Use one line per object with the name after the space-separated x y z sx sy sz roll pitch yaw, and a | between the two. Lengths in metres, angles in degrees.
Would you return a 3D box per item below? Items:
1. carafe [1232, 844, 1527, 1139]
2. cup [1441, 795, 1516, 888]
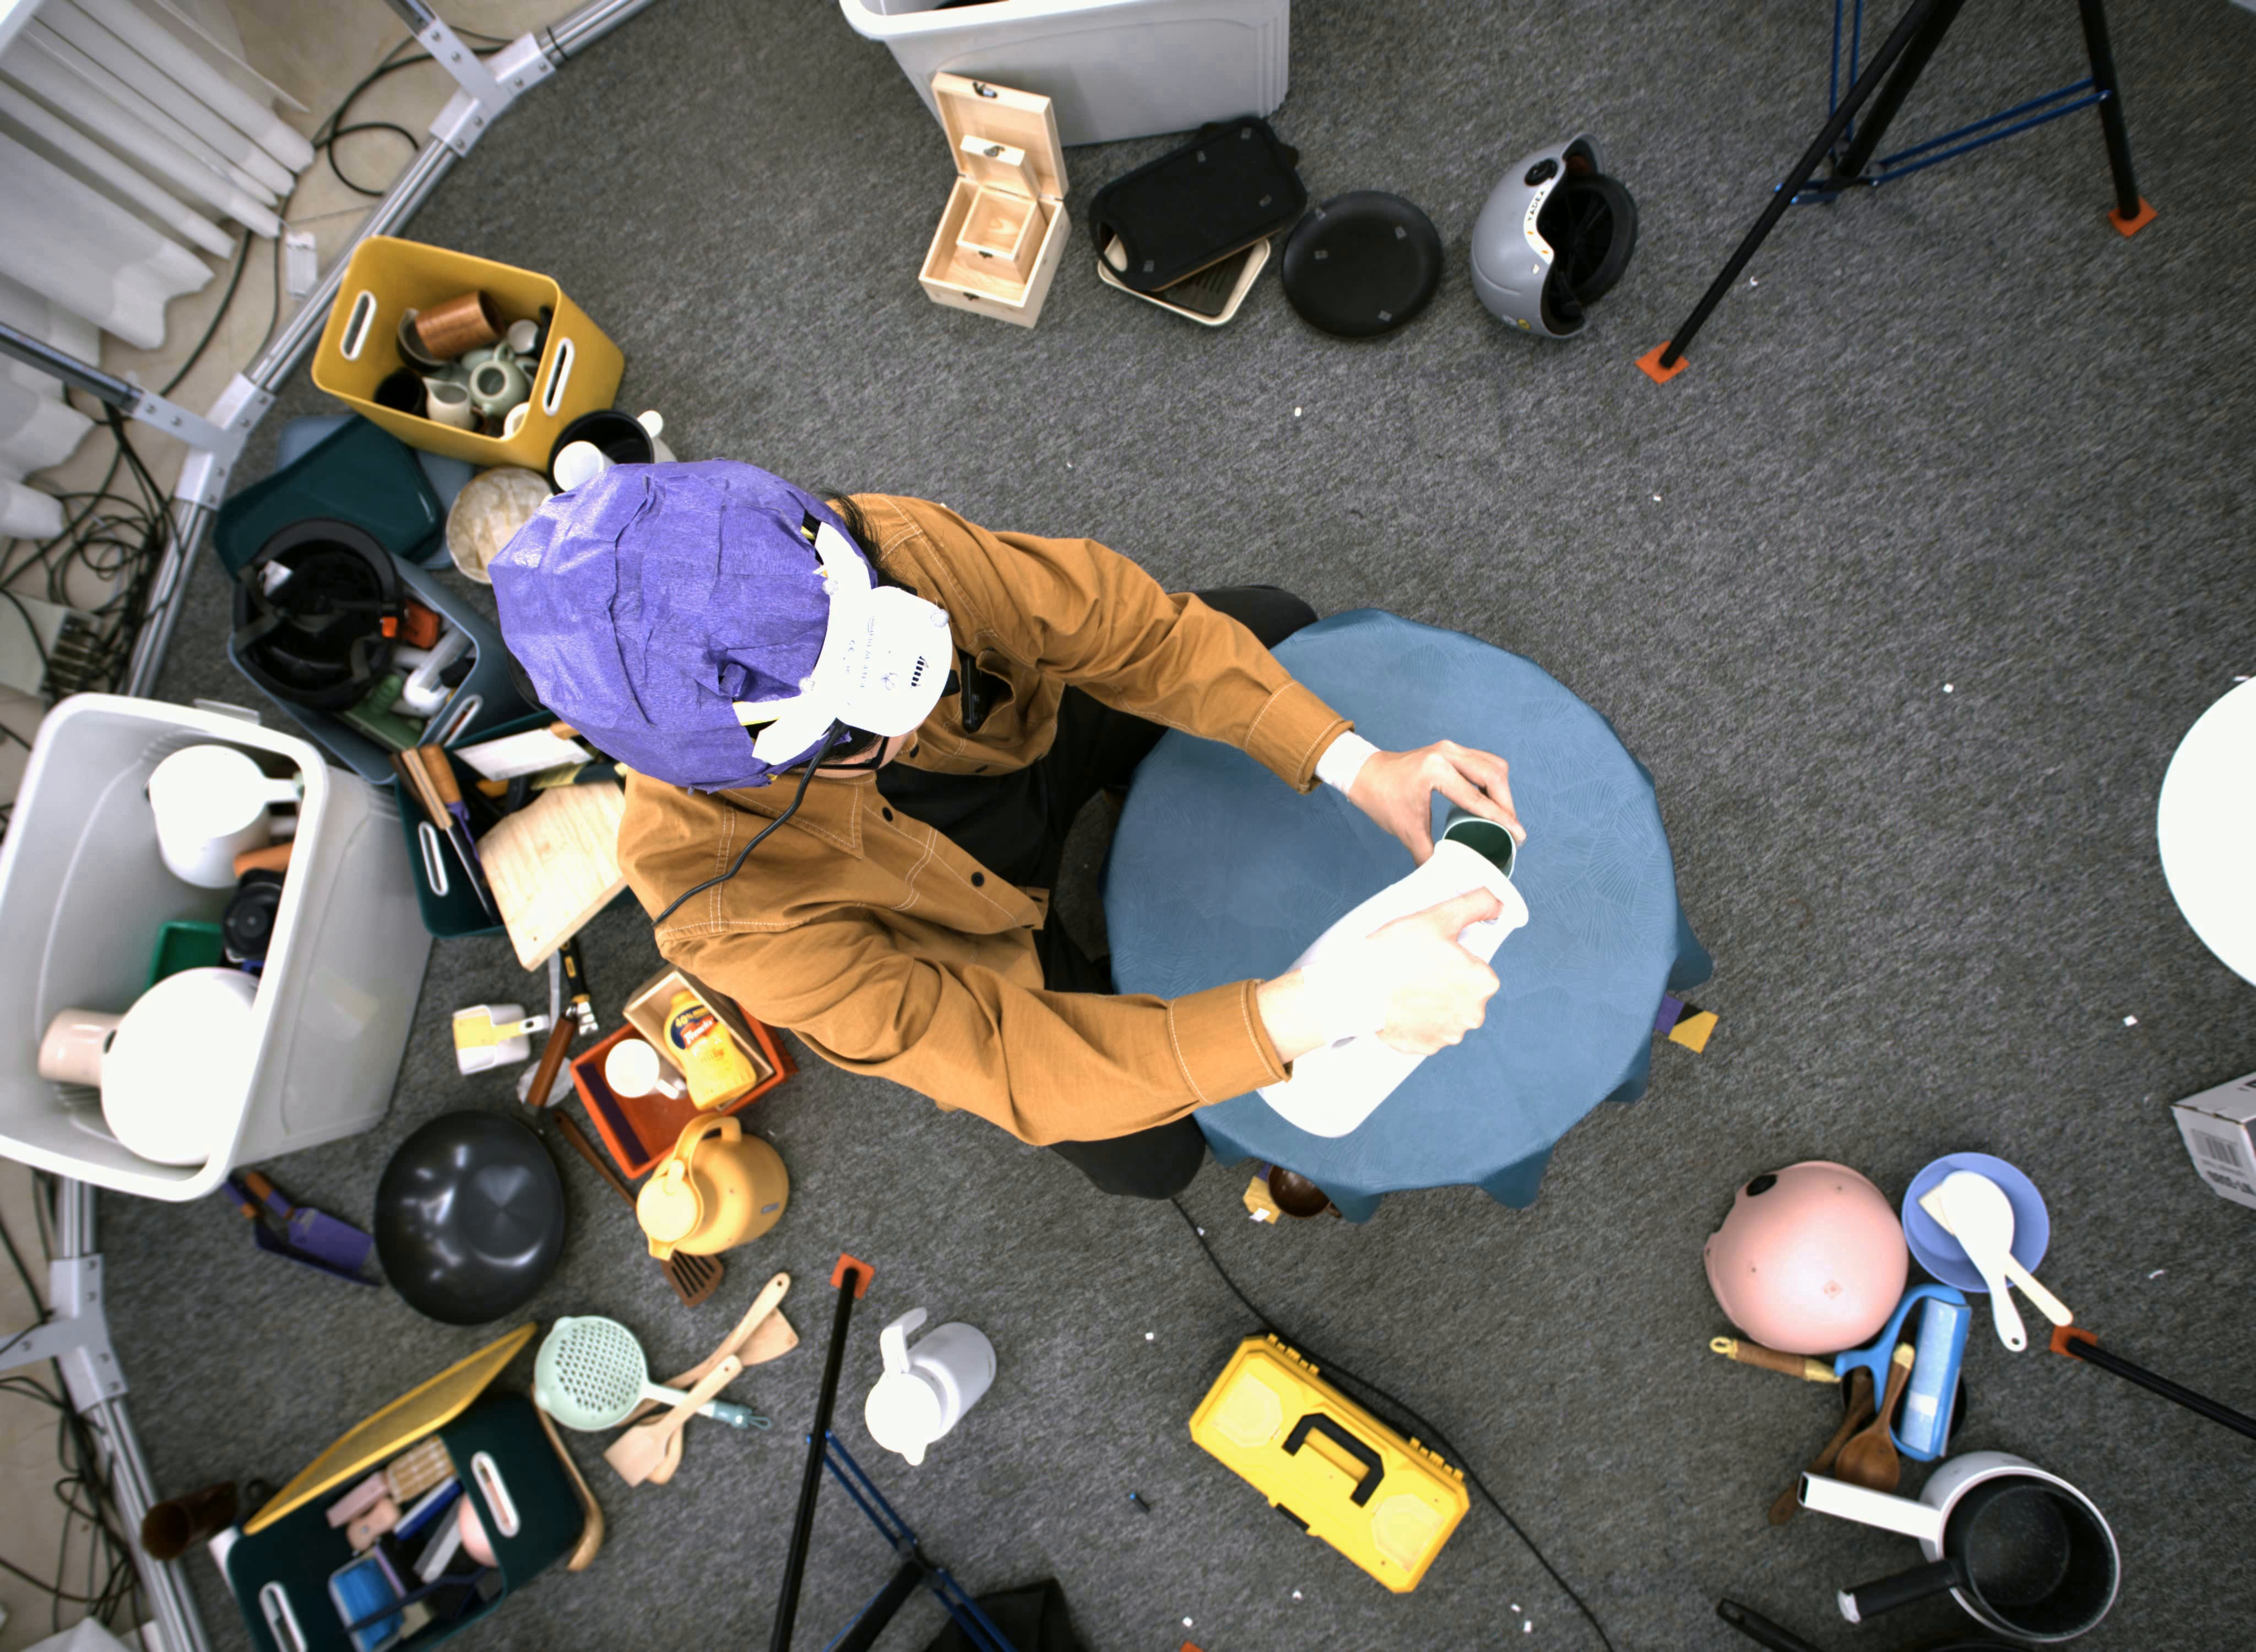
0.205 0.135 1.103 0.133 0.164 0.254 37 120 -4 | carafe
0.311 0.011 1.227 0.067 0.130 0.067 3 103 14 | cup
